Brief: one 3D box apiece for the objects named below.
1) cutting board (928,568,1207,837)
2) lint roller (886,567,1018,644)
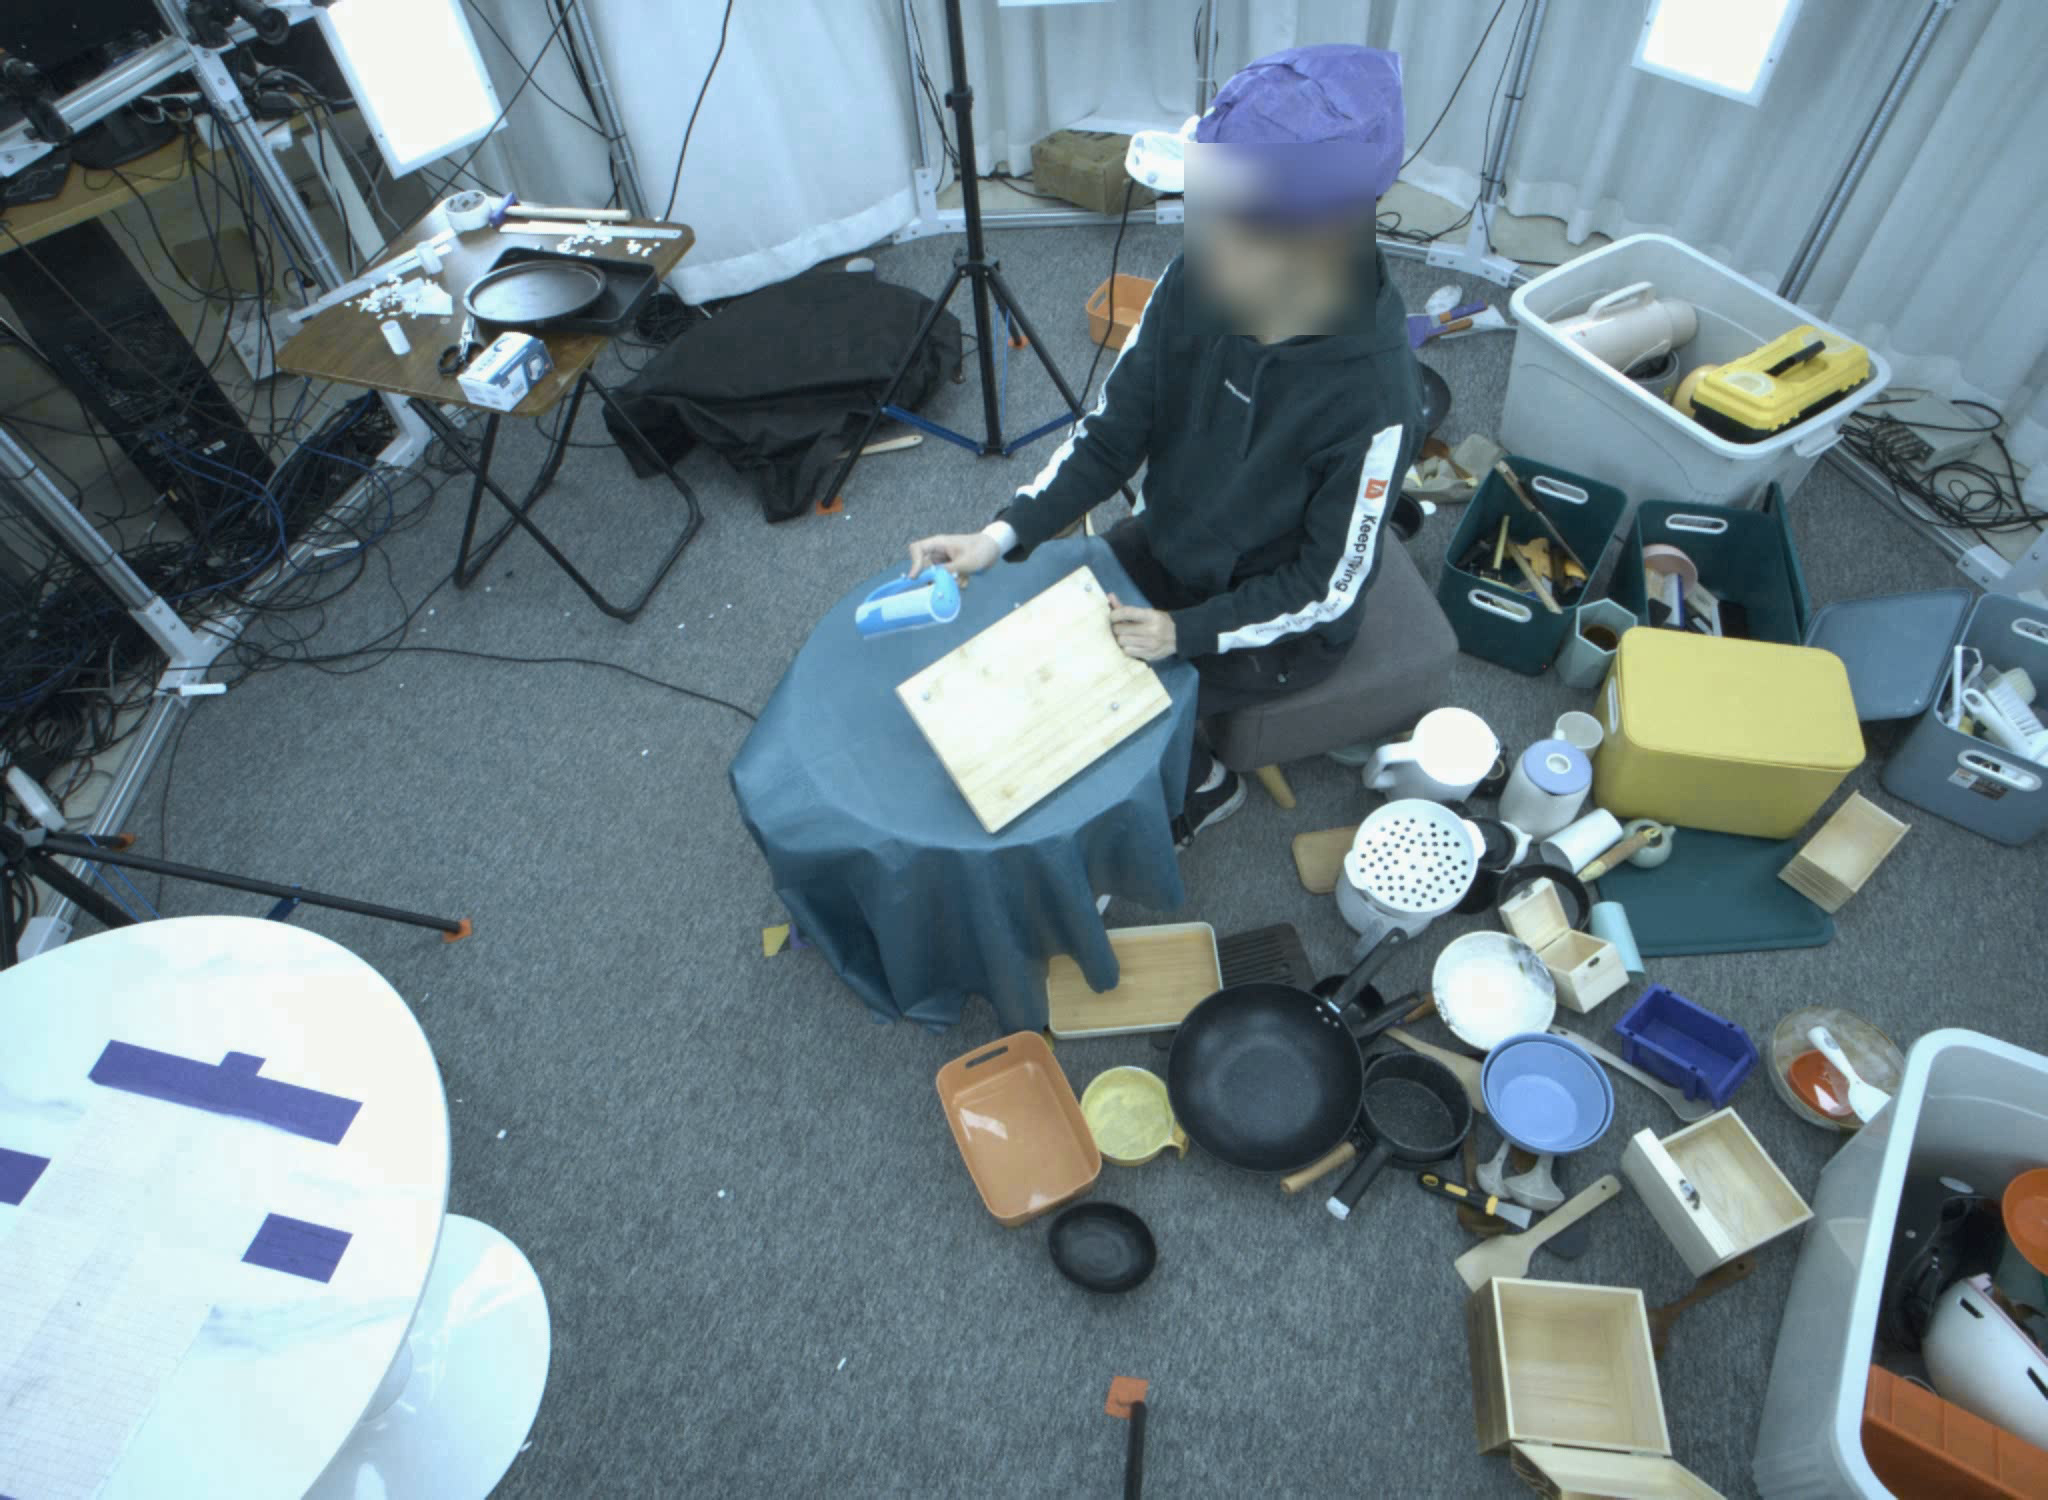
[{"bbox_3d":[0.065,-0.071,1.731,0.351,0.023,0.252,-35,100,-19],"label":"cutting board"},{"bbox_3d":[-0.085,-0.222,1.729,0.224,0.069,0.181,-10,27,52],"label":"lint roller"}]
